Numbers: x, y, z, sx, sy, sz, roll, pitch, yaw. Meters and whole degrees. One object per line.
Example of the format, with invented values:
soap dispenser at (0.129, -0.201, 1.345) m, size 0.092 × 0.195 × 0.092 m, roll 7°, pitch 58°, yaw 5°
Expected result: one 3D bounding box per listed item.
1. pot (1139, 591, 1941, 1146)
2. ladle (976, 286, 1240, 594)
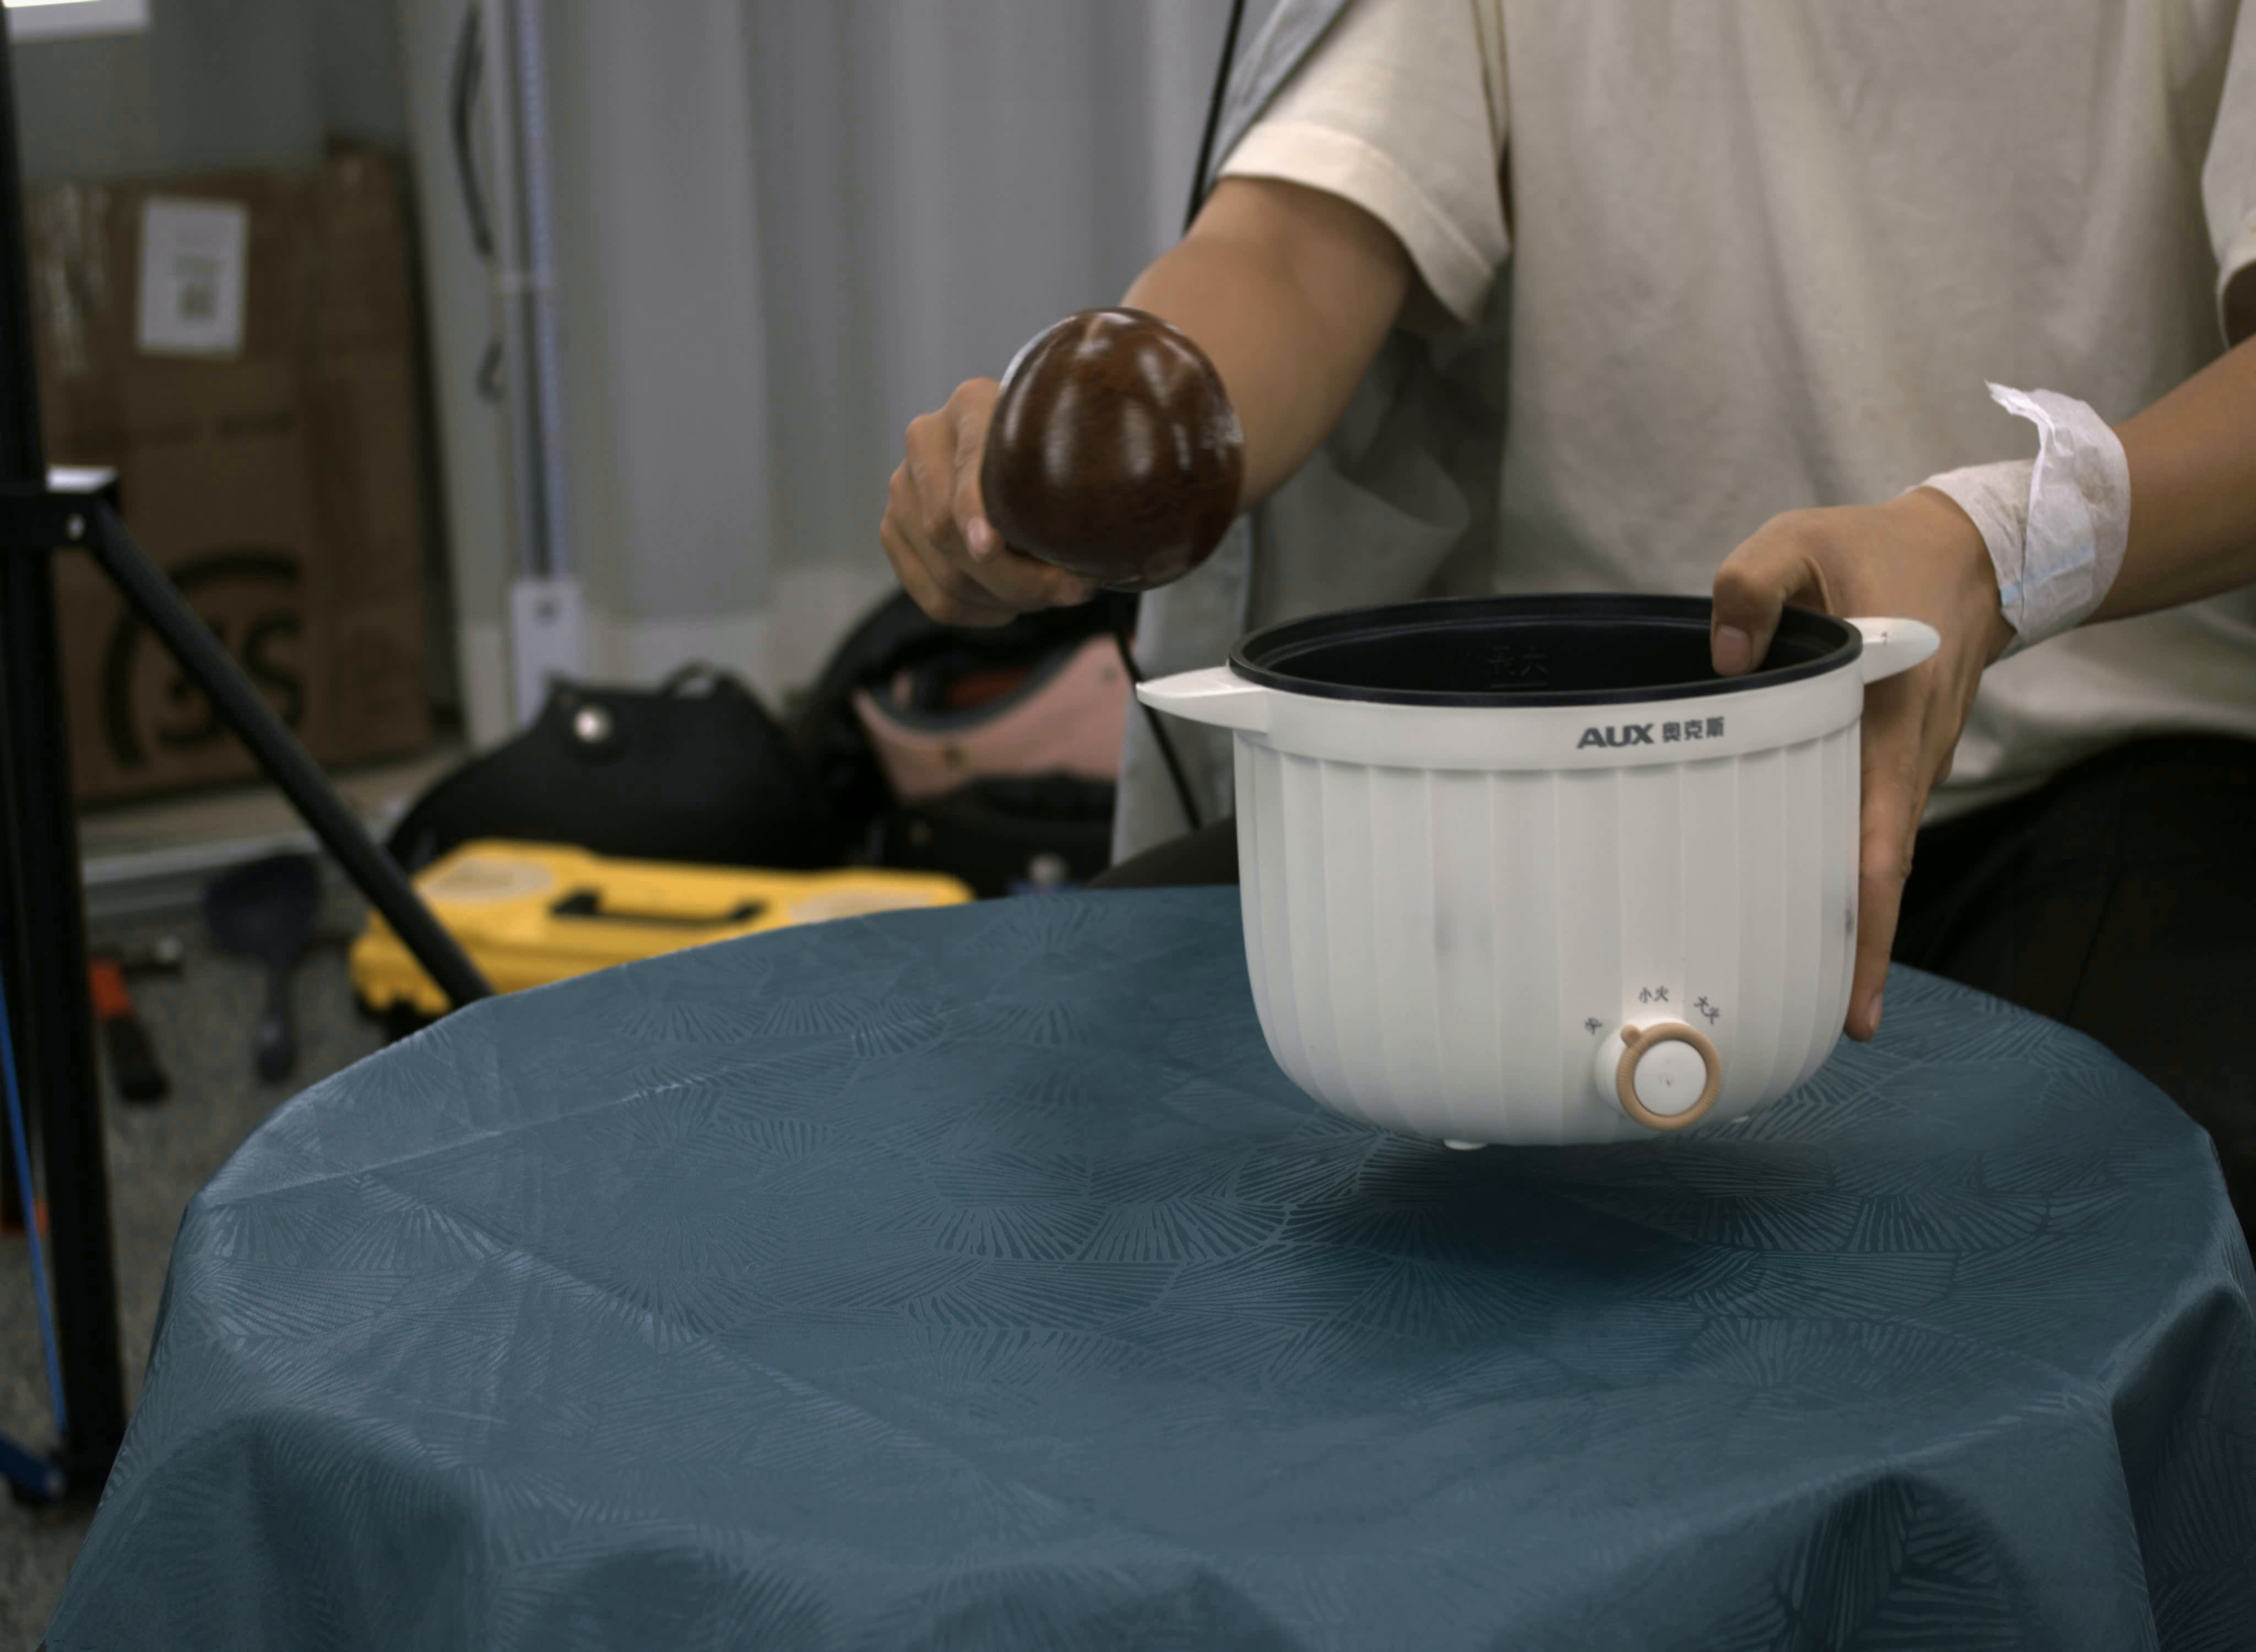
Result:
pot at (0.124, 0.013, 1.513) m, size 0.237 × 0.143 × 0.193 m, roll -6°, pitch 7°, yaw -13°
ladle at (-0.008, -0.104, 1.596) m, size 0.076 × 0.082 × 0.273 m, roll -13°, pitch -3°, yaw -1°
